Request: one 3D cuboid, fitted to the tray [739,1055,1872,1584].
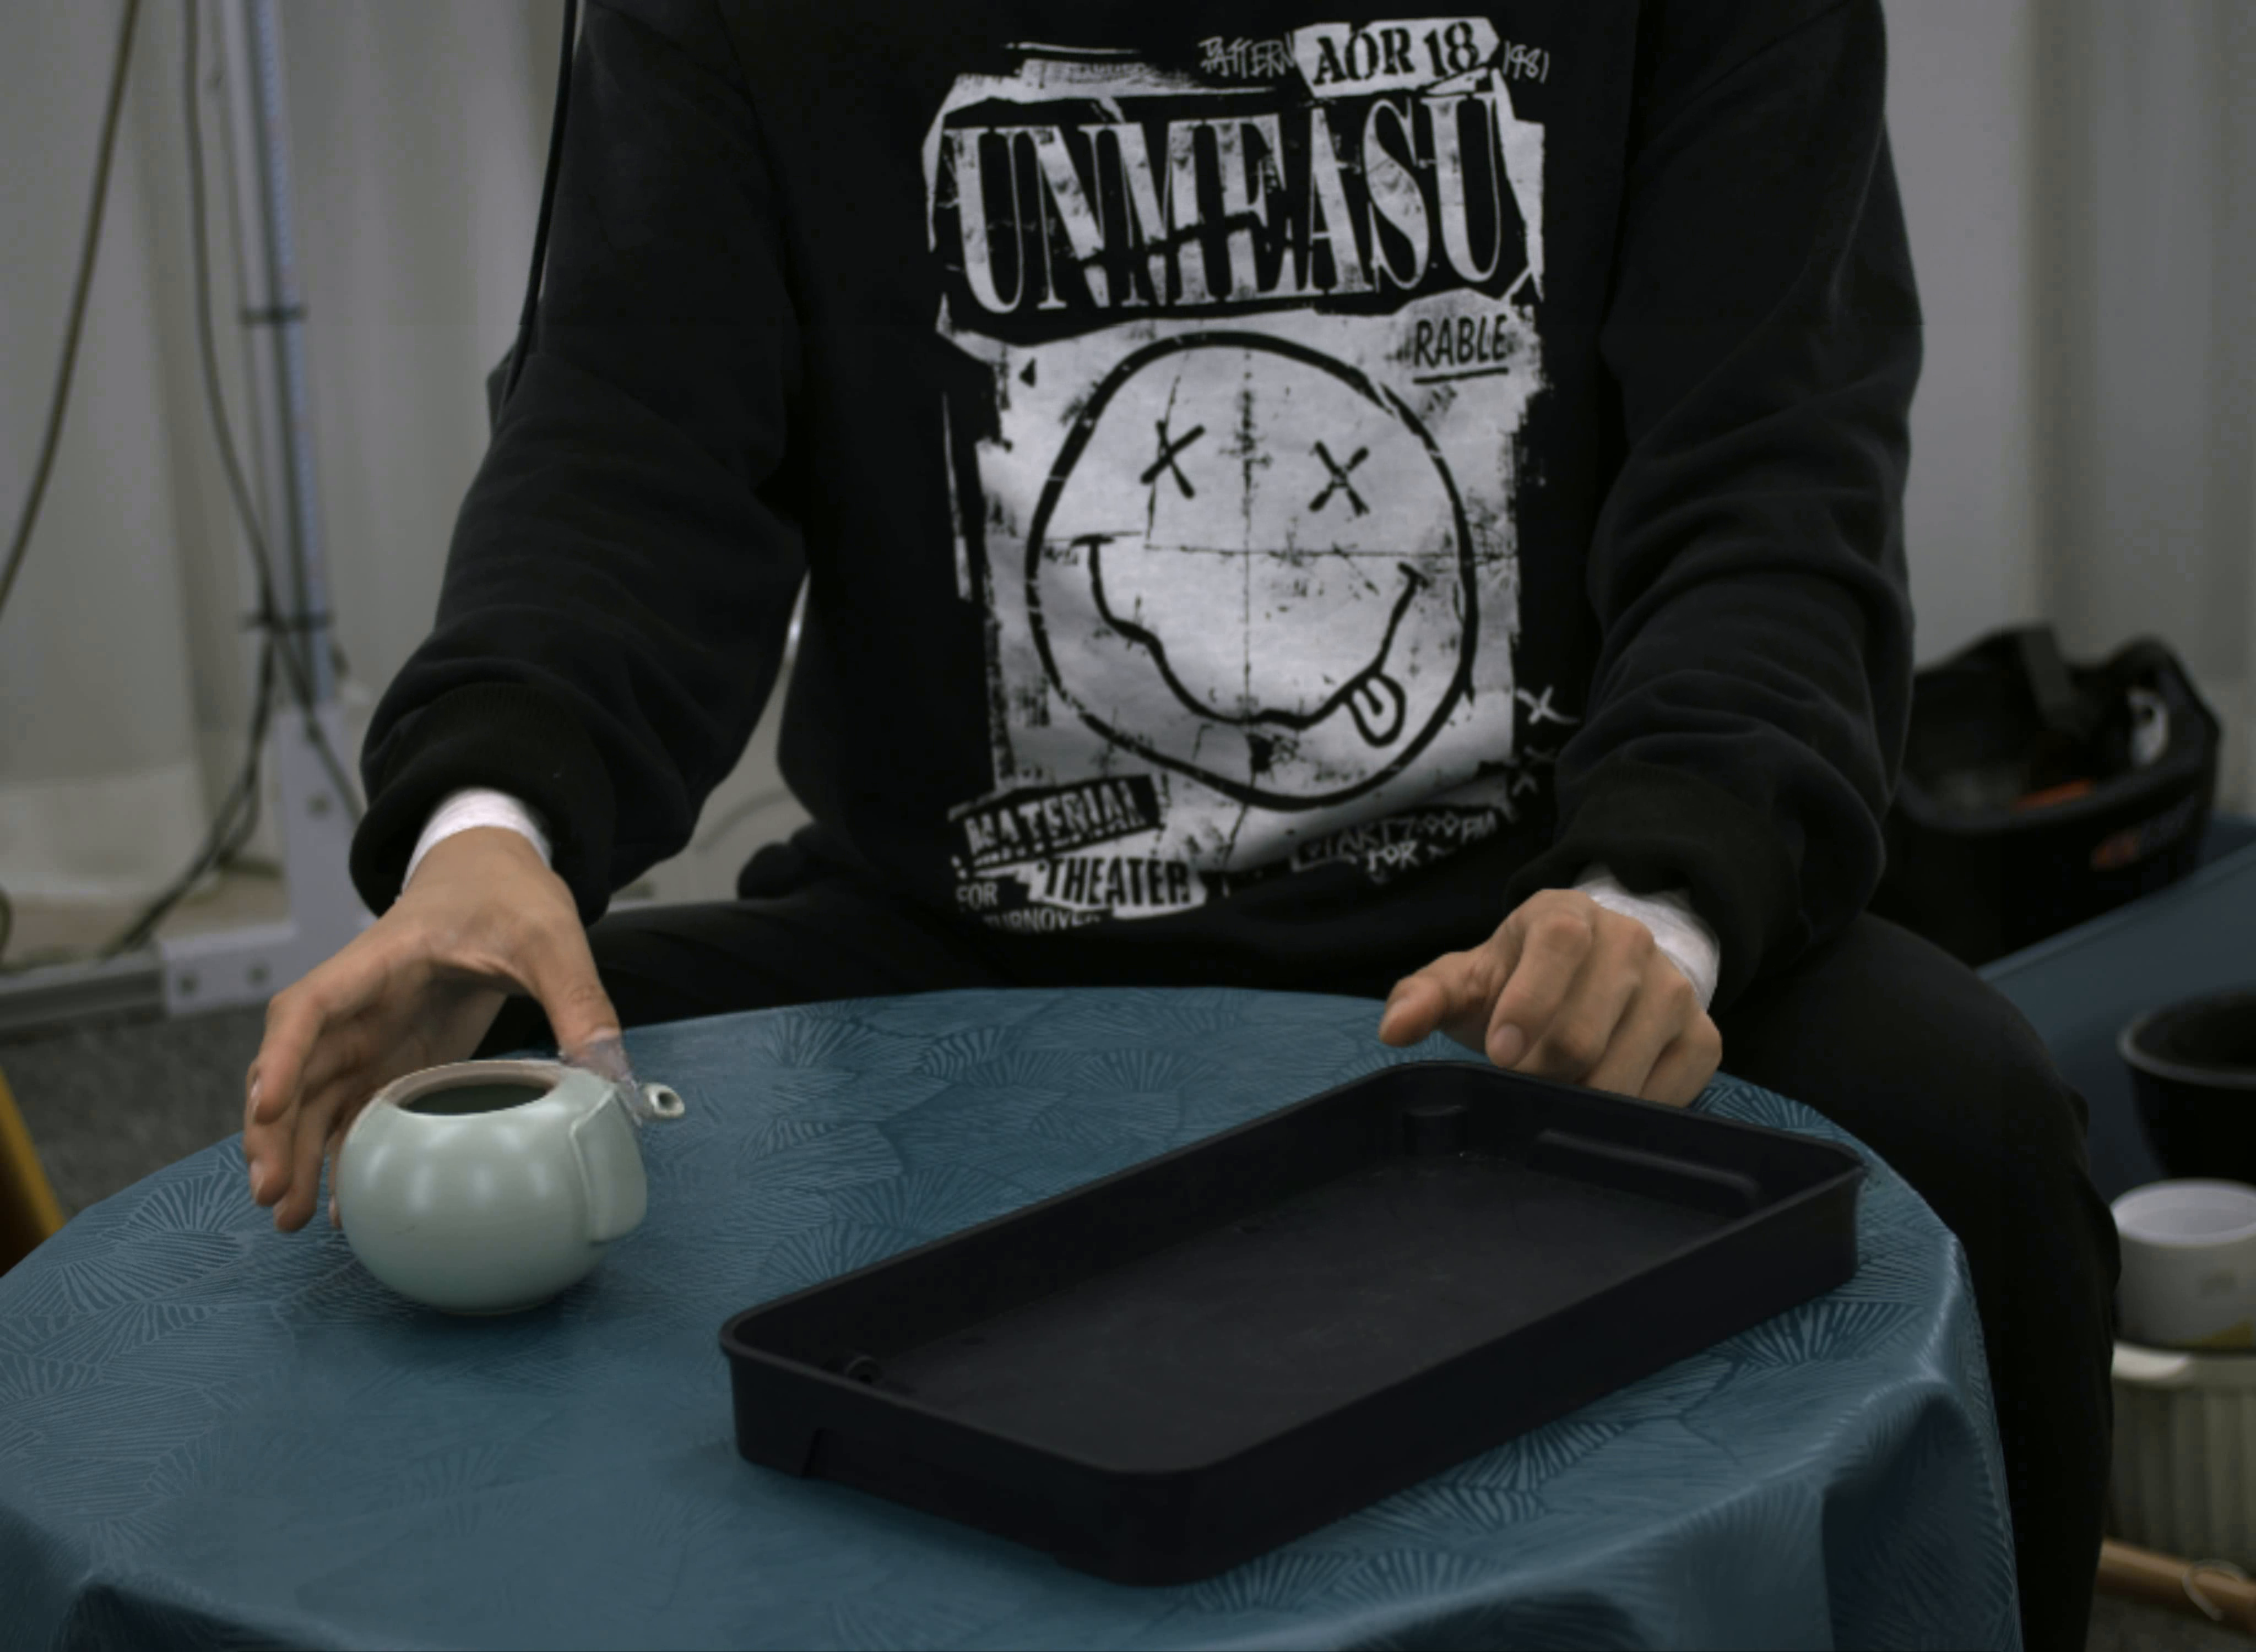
[{"bbox_3d":[0.057,0.134,1.563,0.185,0.037,0.317,10,20,41],"label":"tray"}]

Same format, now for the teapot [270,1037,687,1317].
[{"bbox_3d":[-0.194,0.106,1.643,0.144,0.074,0.088,7,17,27],"label":"teapot"}]
